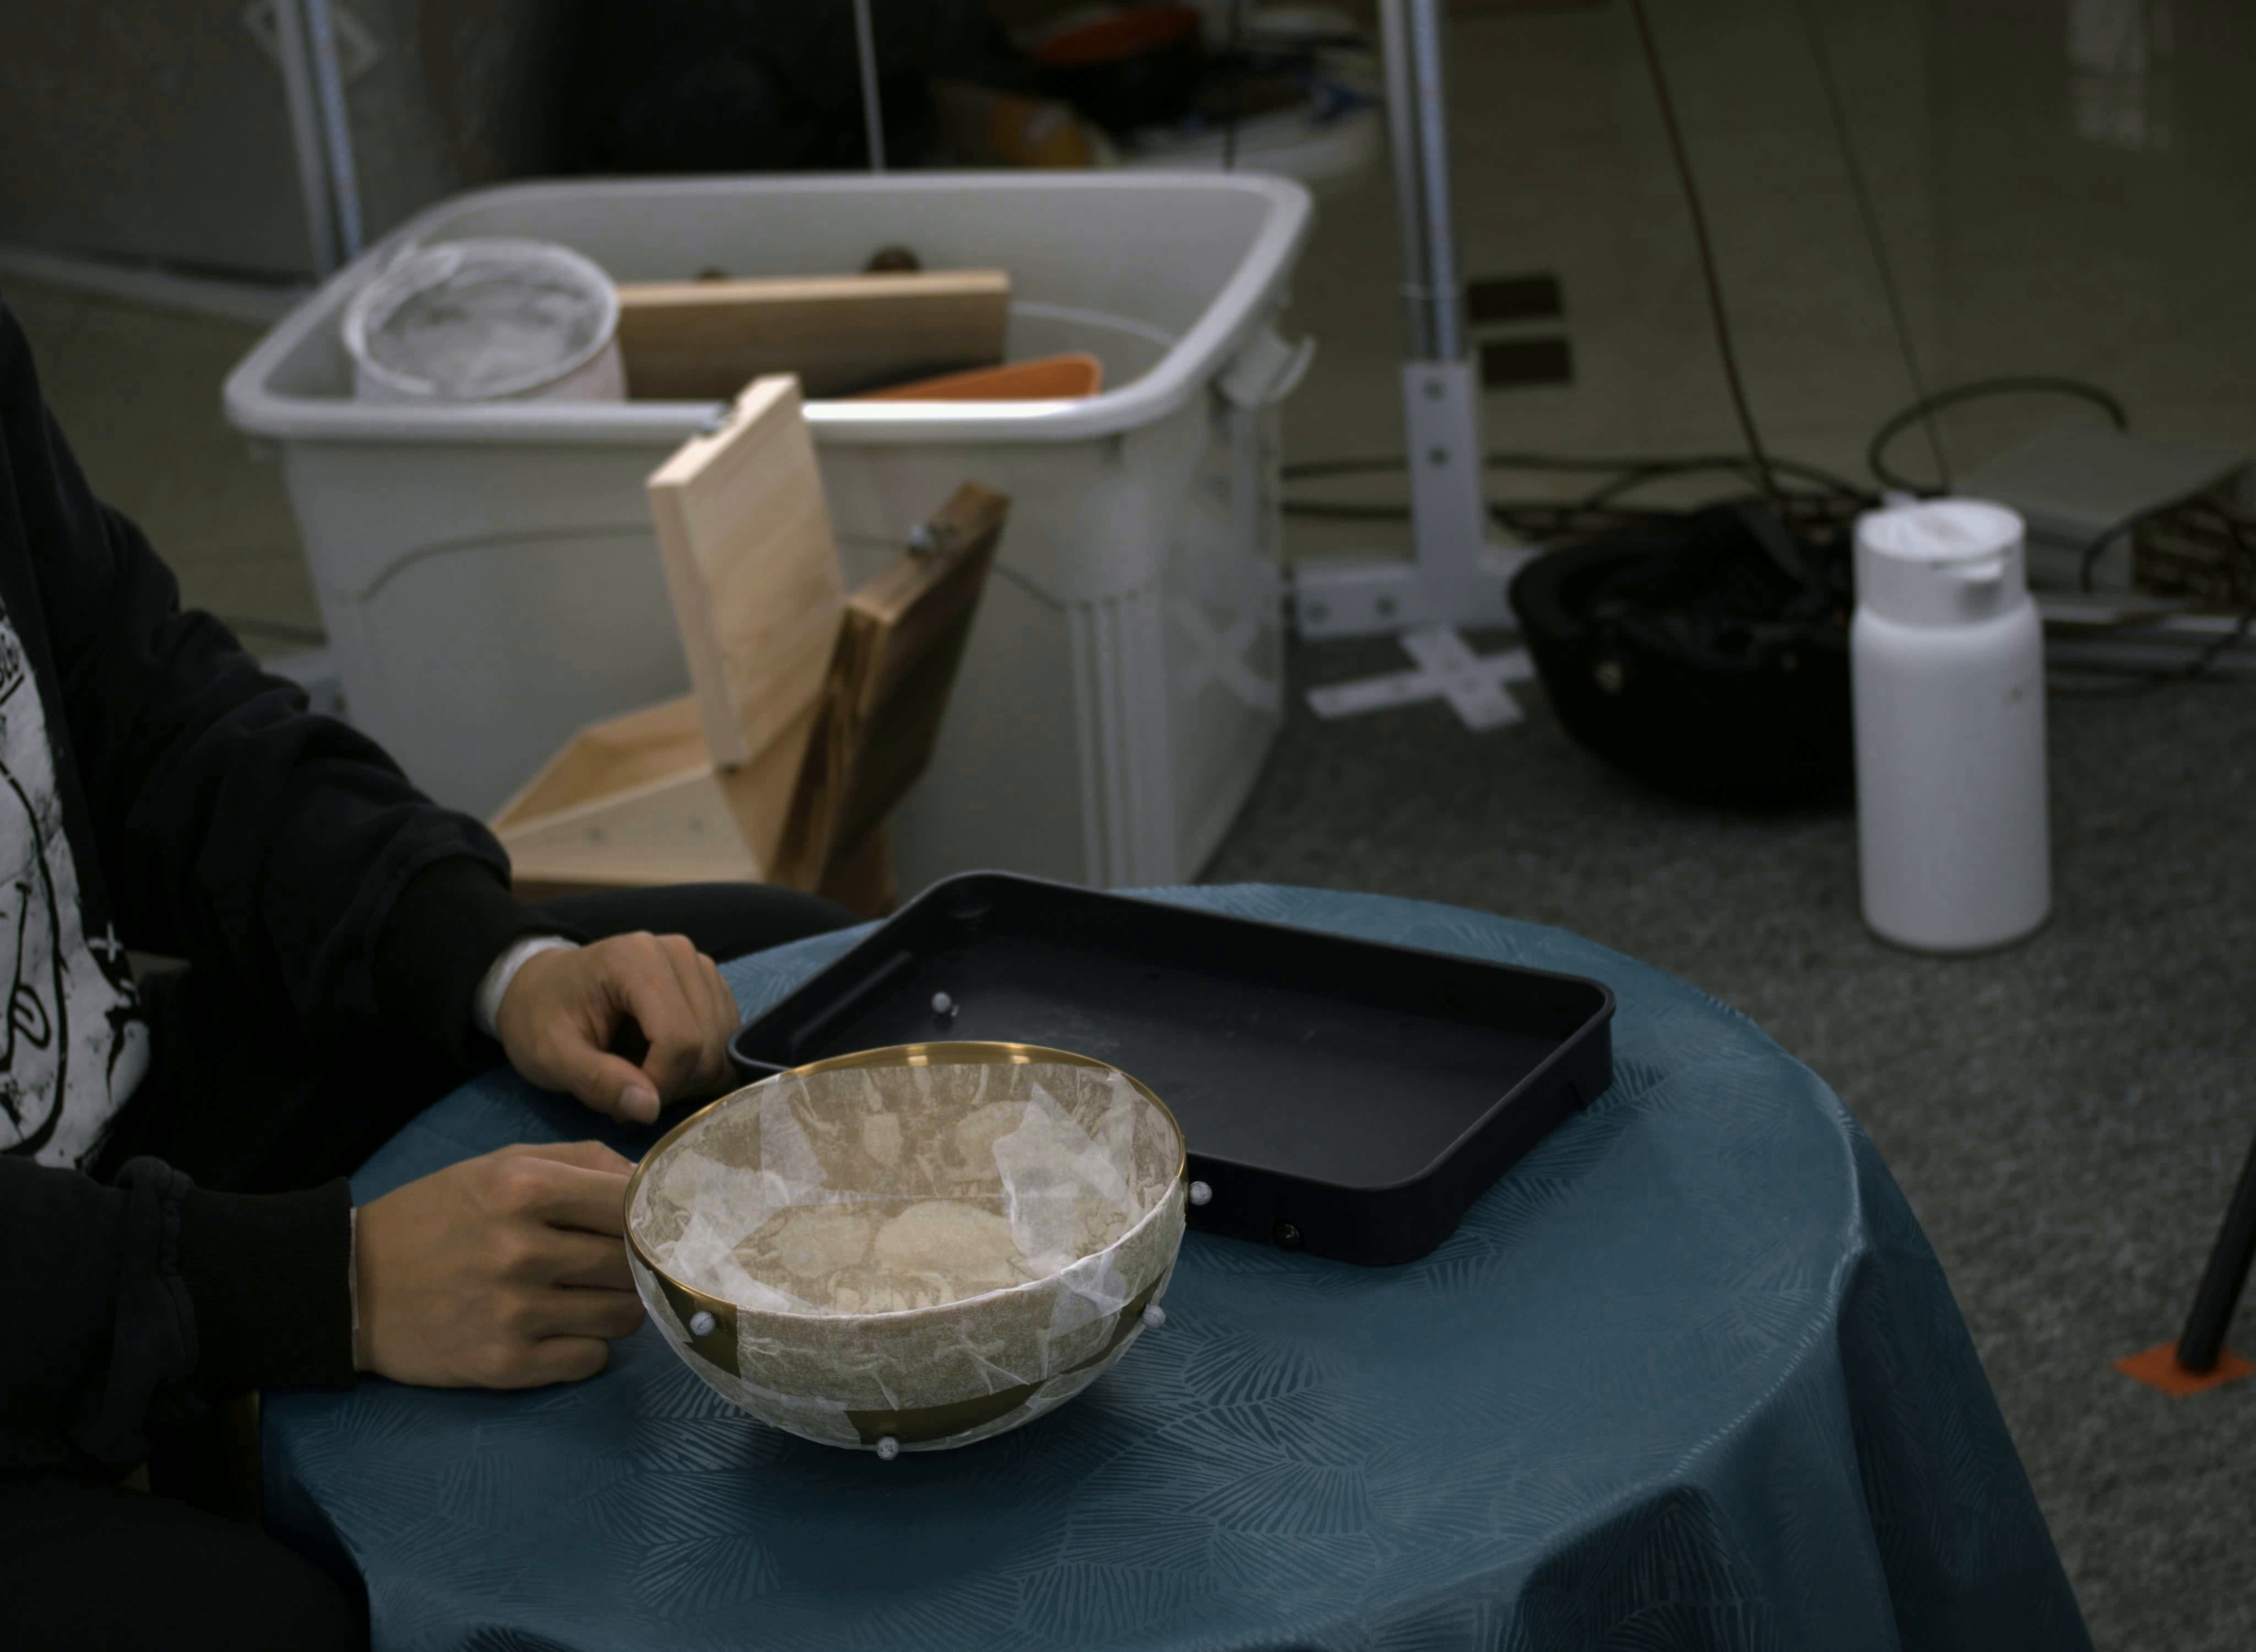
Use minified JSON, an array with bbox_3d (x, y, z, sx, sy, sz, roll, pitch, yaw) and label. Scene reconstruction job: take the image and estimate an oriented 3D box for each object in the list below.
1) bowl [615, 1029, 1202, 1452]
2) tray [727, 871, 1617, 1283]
[{"bbox_3d":[-0.073,0.159,2.015,0.214,0.096,0.211,-6,26,3],"label":"bowl"},{"bbox_3d":[0.016,0.094,2.210,0.316,0.037,0.182,12,30,32],"label":"tray"}]
